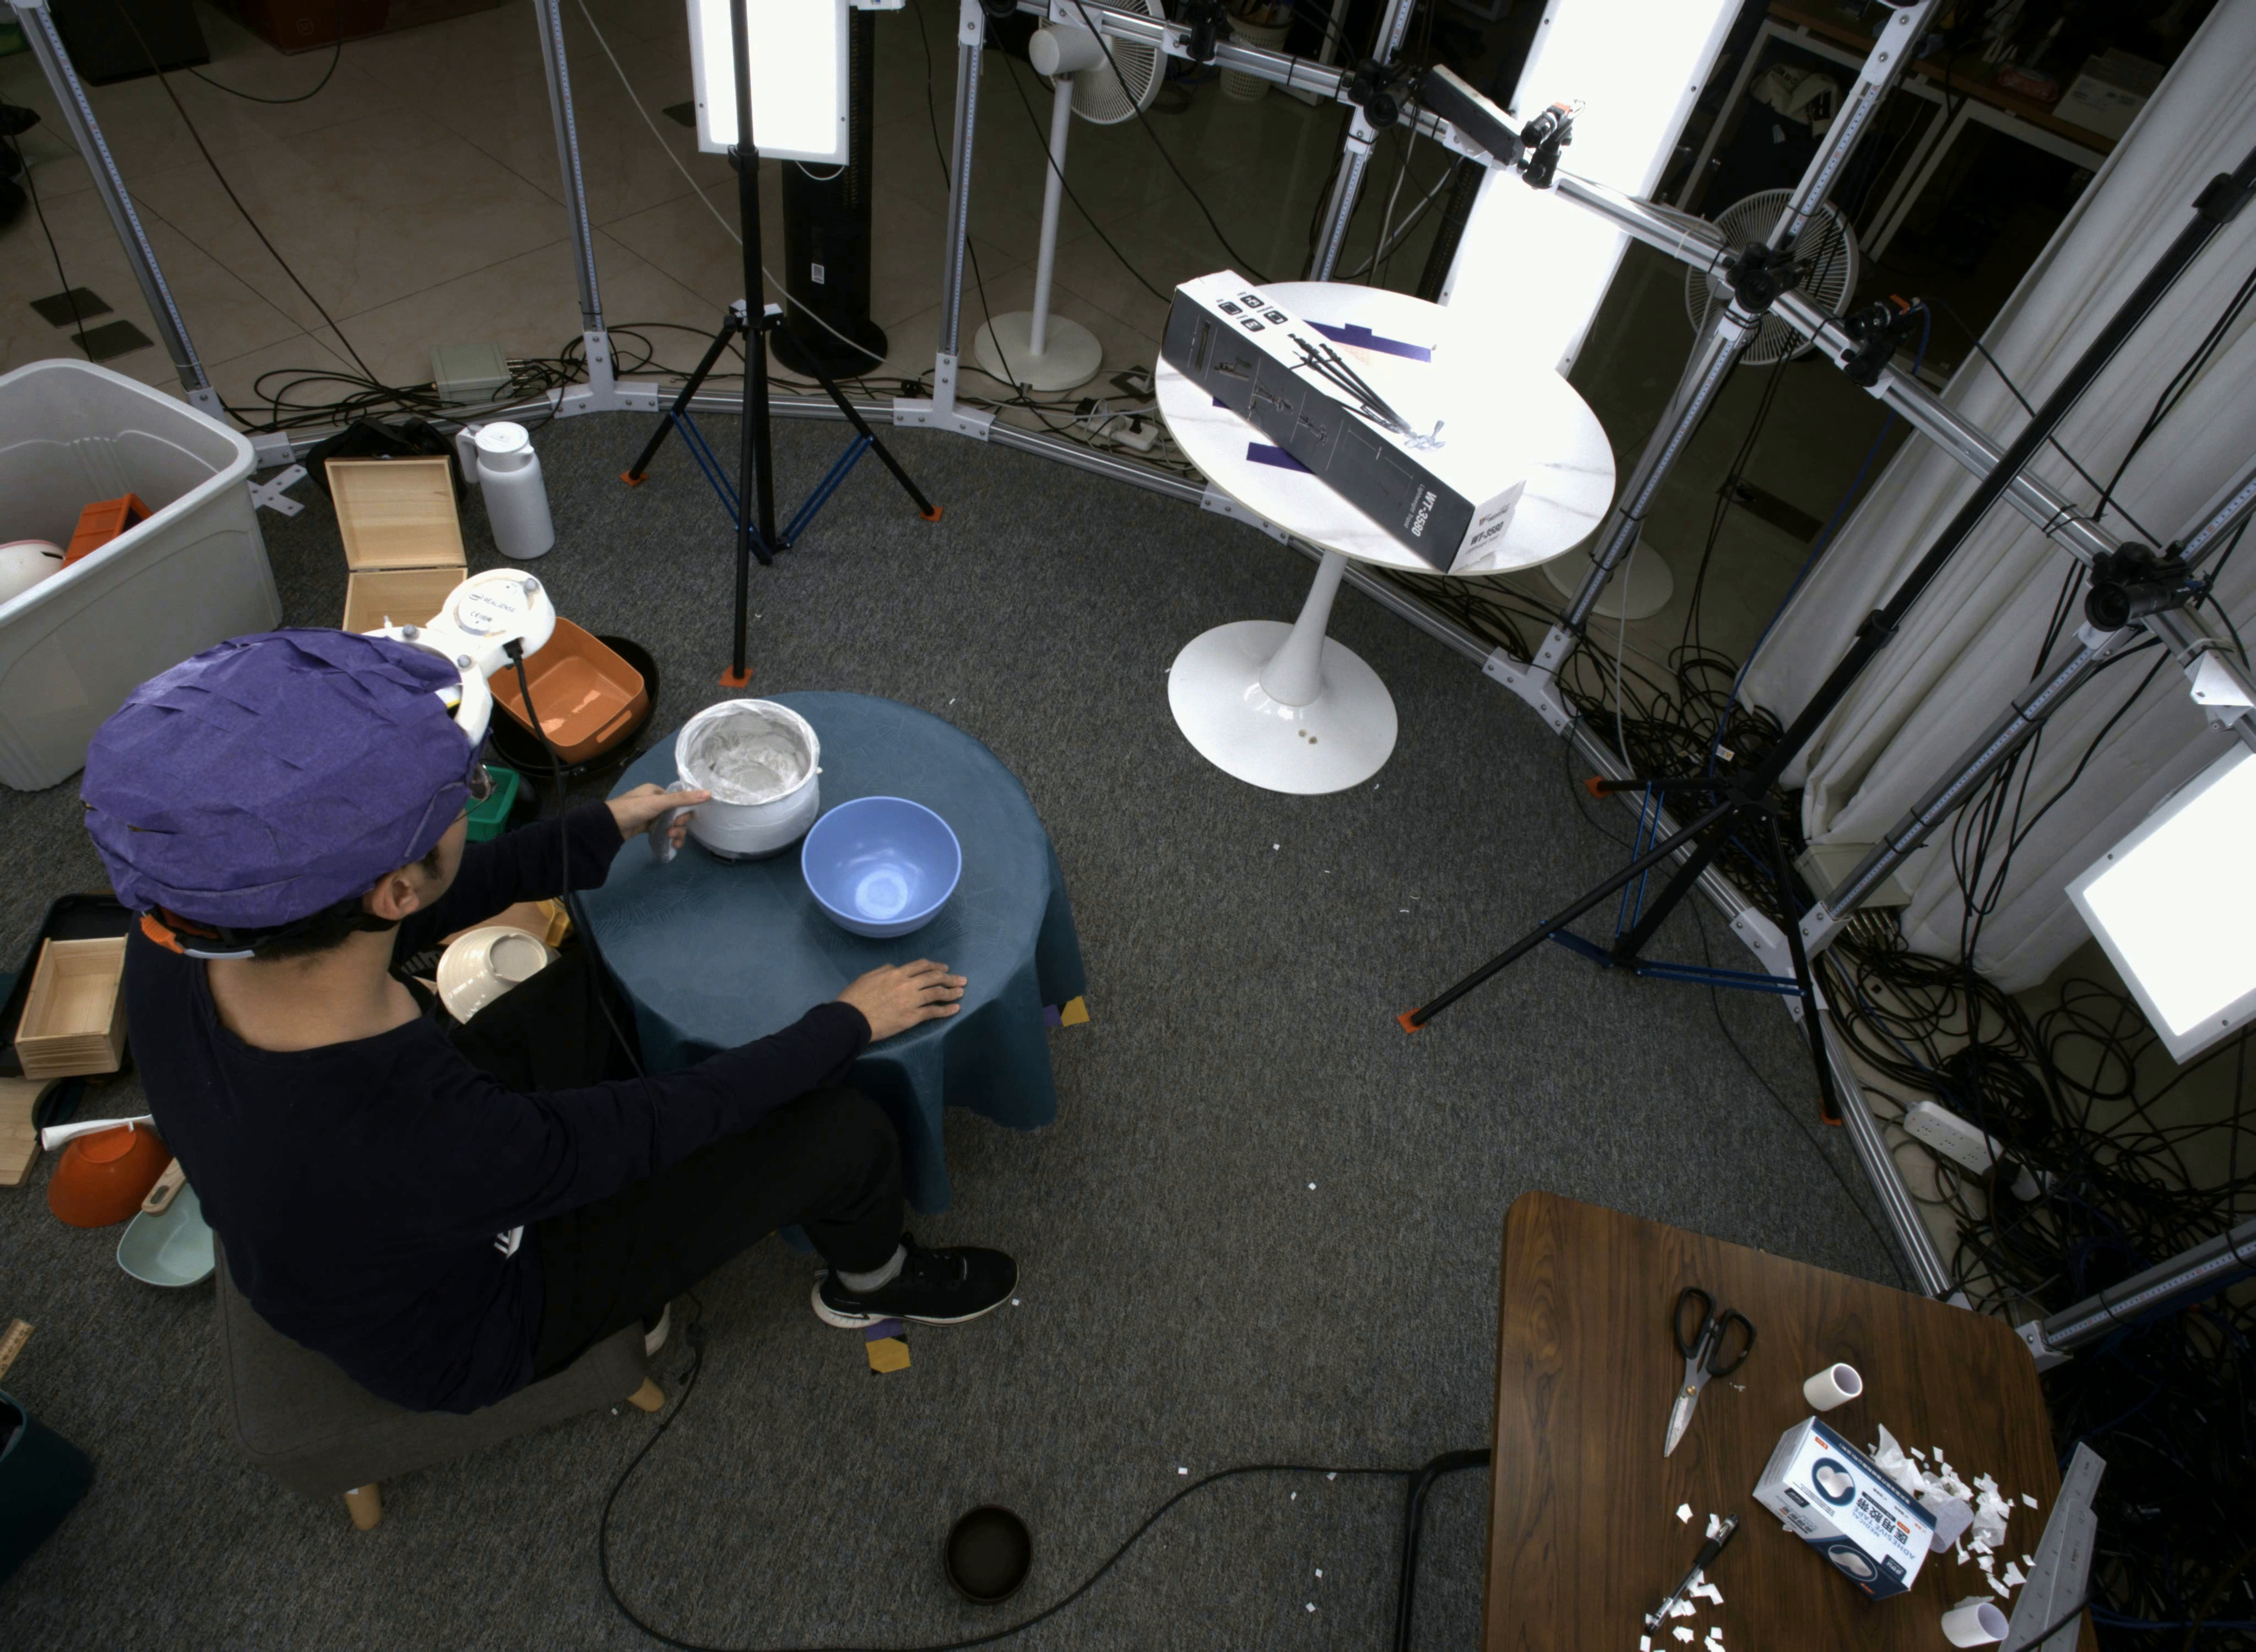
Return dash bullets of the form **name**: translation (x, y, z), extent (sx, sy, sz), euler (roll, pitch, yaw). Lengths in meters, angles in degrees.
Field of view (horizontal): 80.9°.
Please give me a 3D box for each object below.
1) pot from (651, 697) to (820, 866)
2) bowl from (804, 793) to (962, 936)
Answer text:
- **pot**: translation (-0.508, -0.044, 1.655), extent (0.174, 0.140, 0.234), euler (39, 53, 20)
- **bowl**: translation (-0.314, 0.063, 1.651), extent (0.197, 0.097, 0.193), euler (11, 50, -11)
